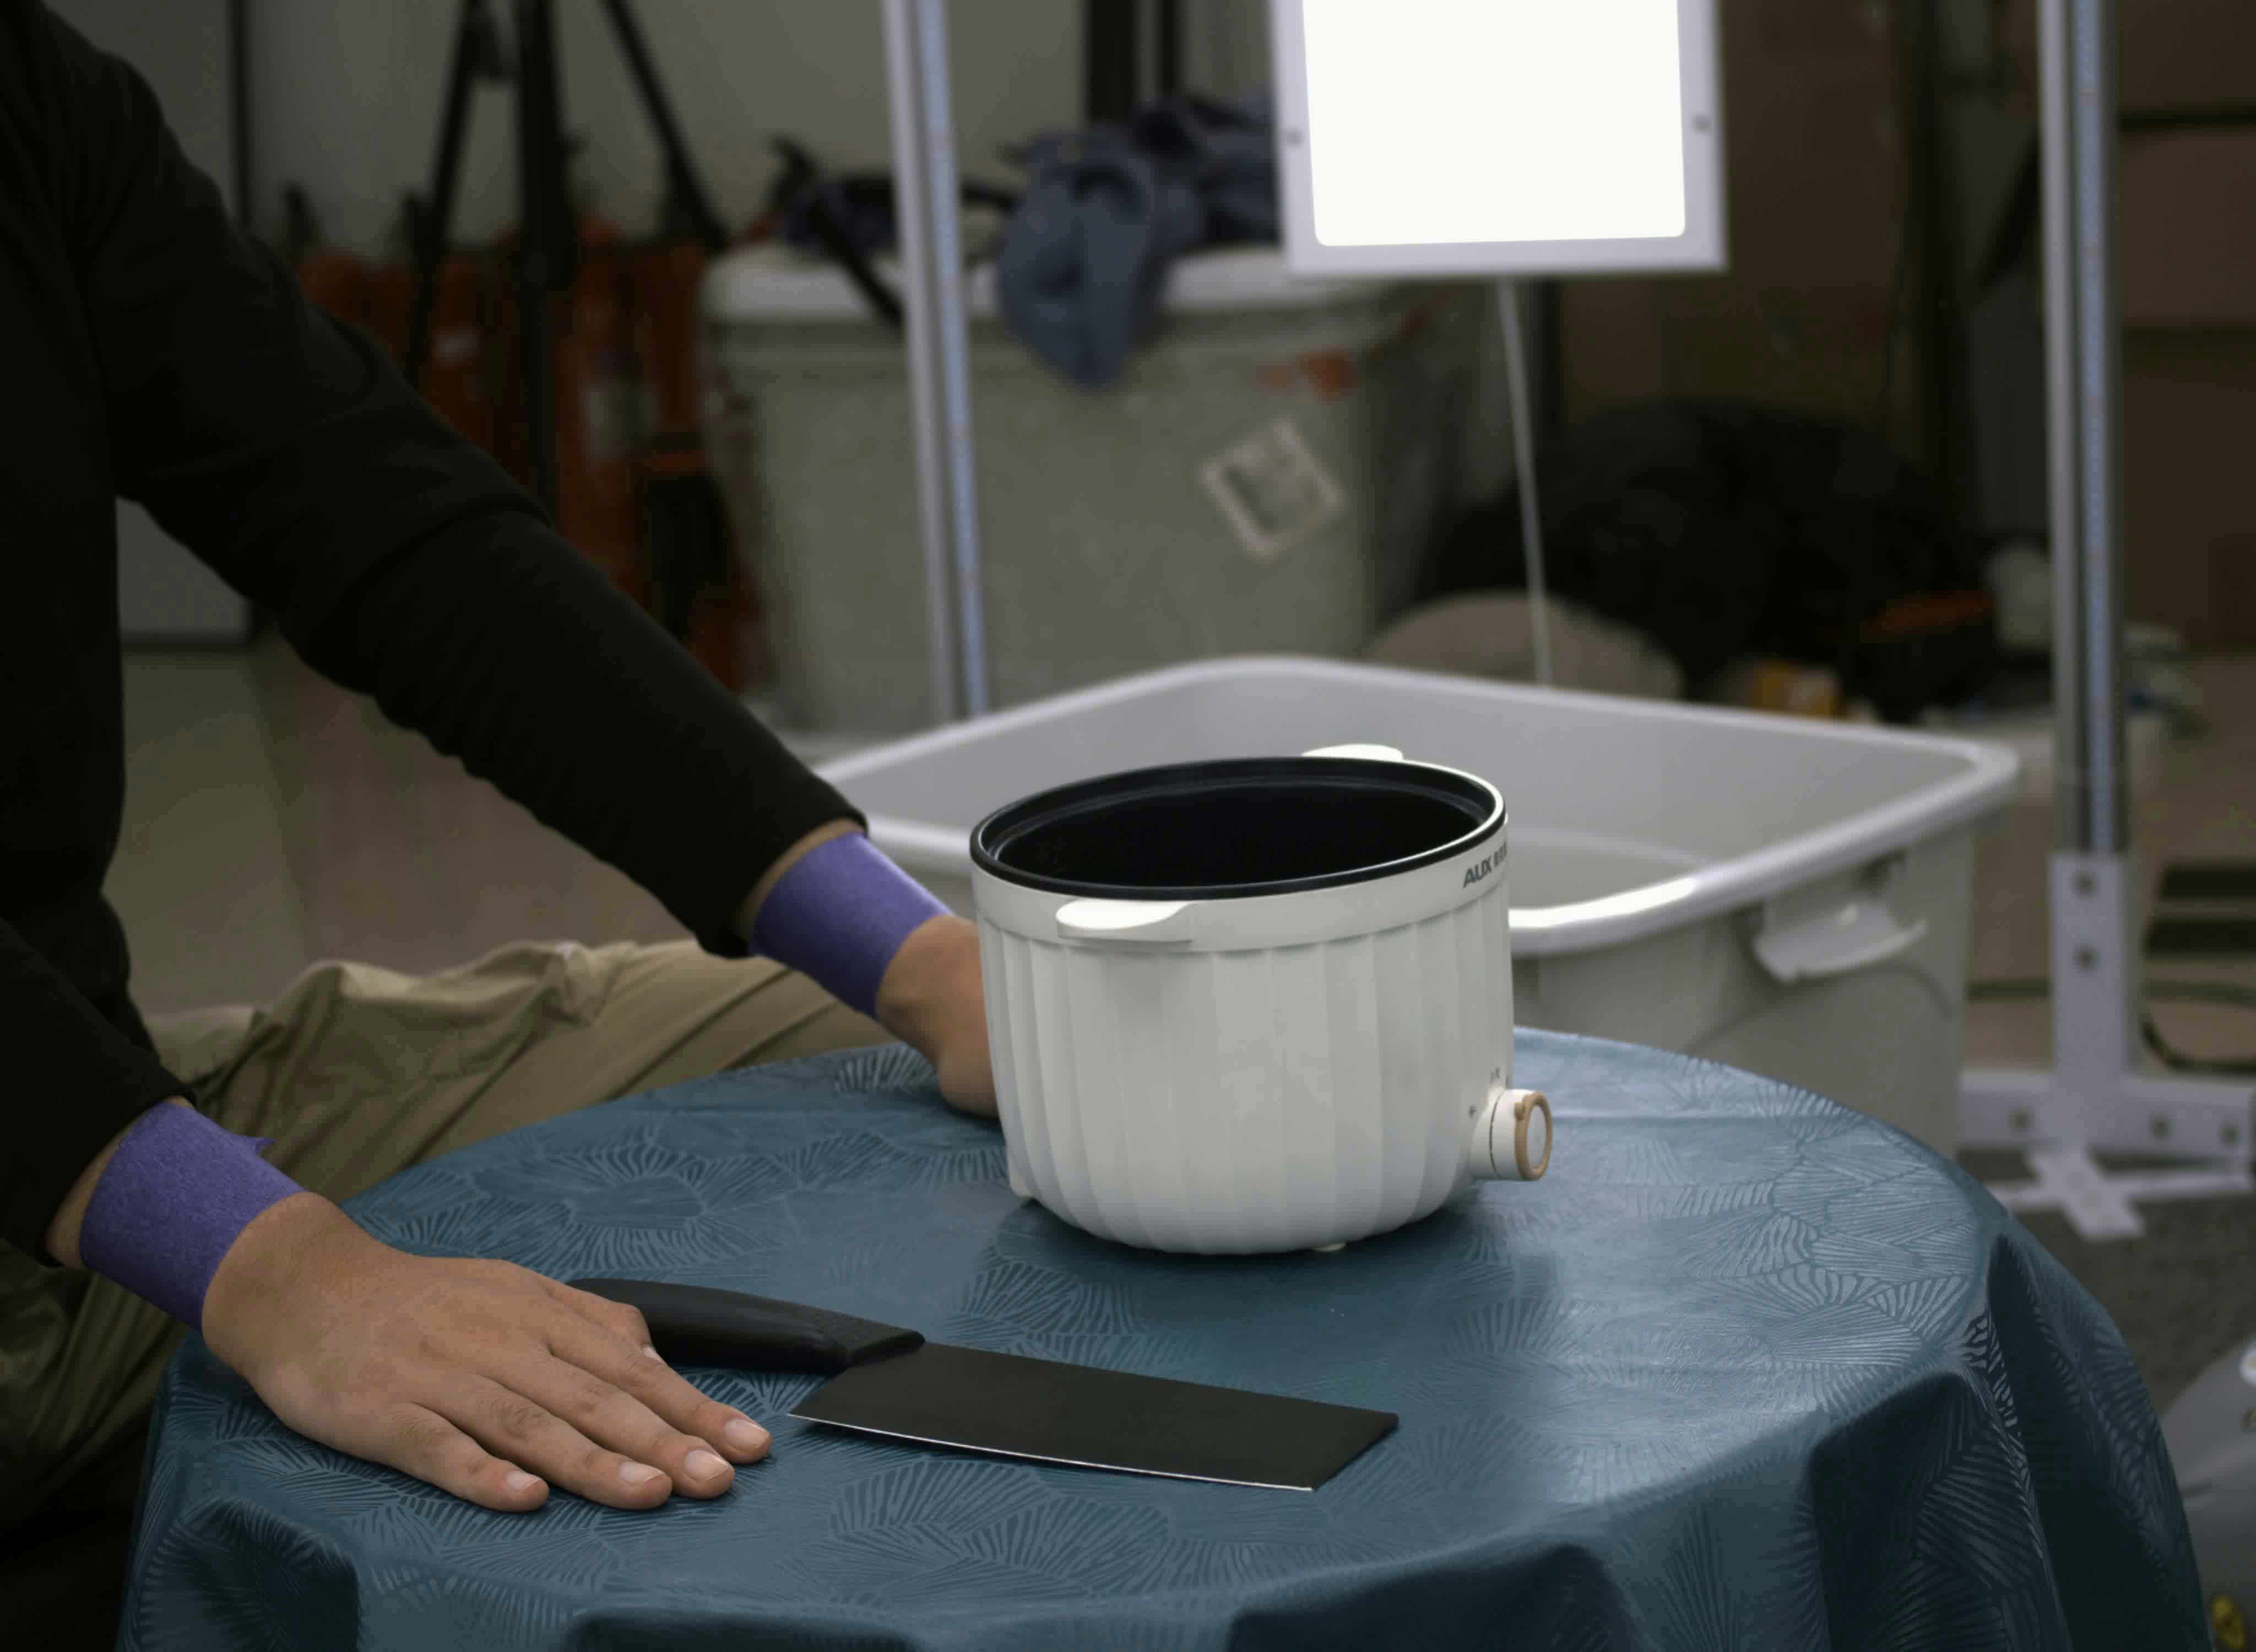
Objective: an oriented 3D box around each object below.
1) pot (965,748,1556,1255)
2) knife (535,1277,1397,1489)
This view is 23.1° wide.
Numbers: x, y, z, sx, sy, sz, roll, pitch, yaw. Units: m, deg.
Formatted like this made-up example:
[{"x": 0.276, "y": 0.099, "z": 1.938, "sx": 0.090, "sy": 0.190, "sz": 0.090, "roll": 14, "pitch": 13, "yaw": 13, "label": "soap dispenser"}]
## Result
[{"x": 0.047, "y": 0.062, "z": 1.856, "sx": 0.194, "sy": 0.143, "sz": 0.235, "roll": -2, "pitch": 15, "yaw": 25, "label": "pot"}, {"x": -0.060, "y": 0.172, "z": 1.707, "sx": 0.308, "sy": 0.021, "sz": 0.079, "roll": 7, "pitch": 20, "yaw": 35, "label": "knife"}]
